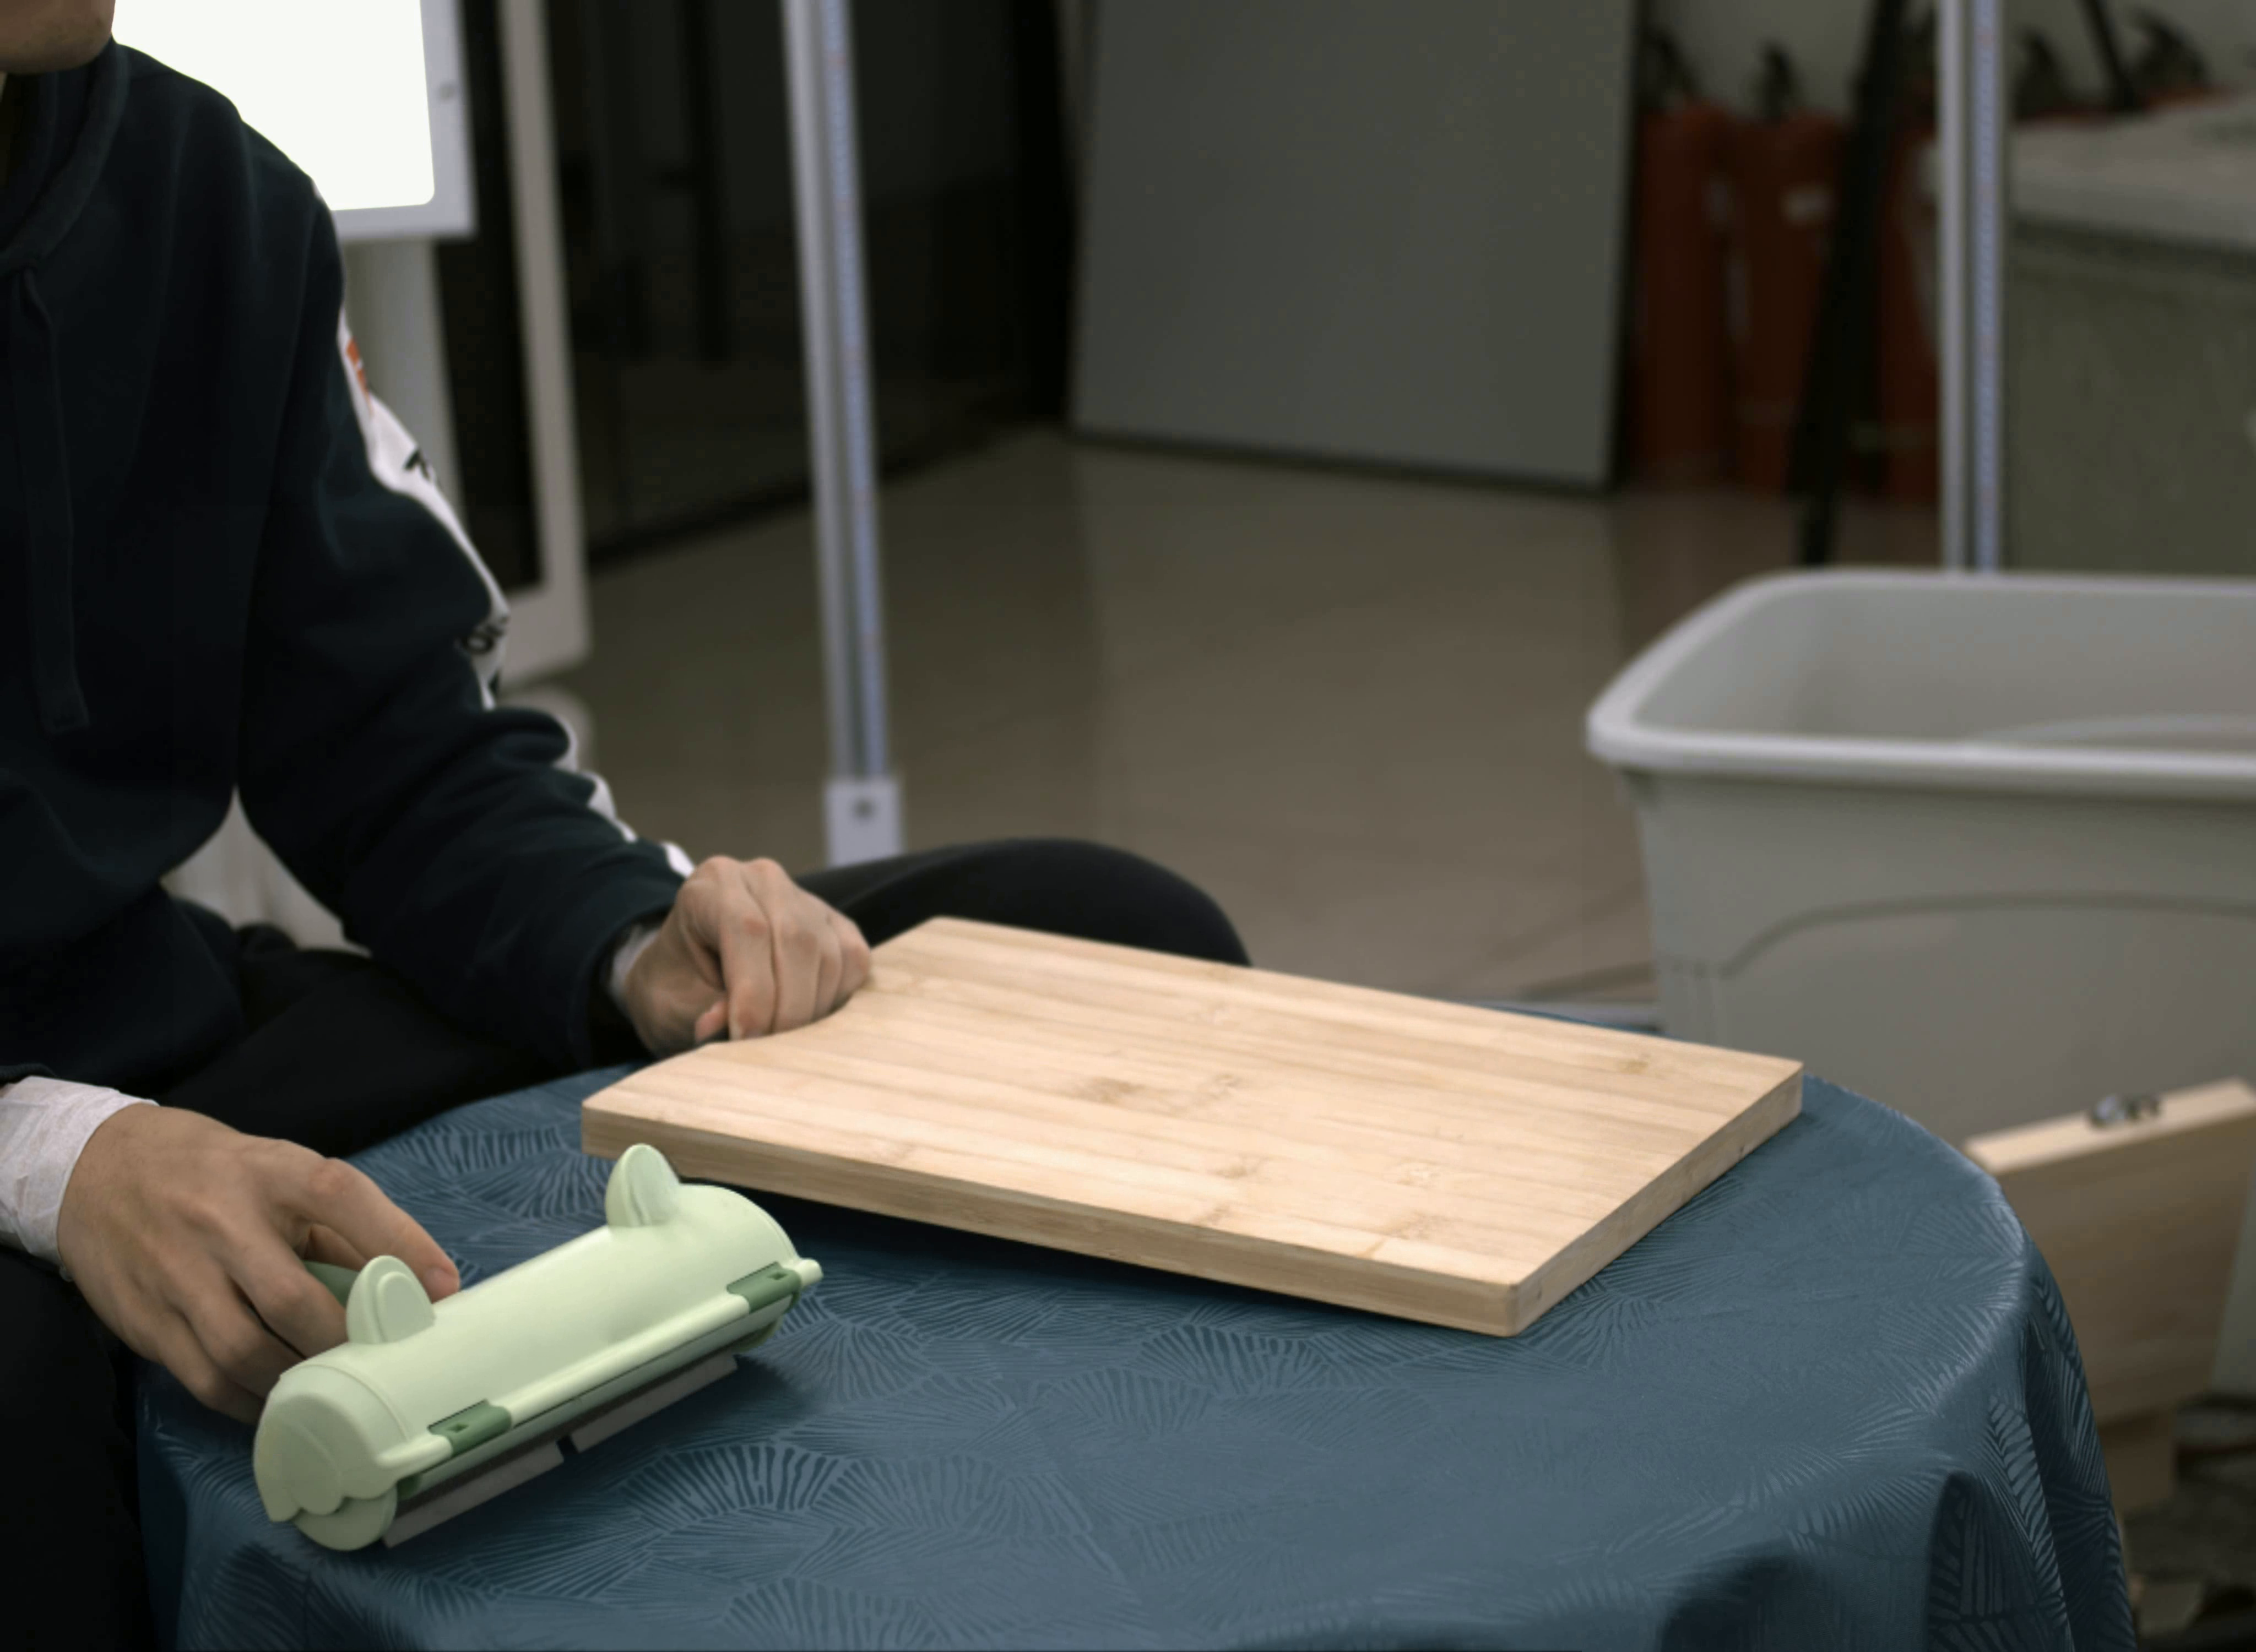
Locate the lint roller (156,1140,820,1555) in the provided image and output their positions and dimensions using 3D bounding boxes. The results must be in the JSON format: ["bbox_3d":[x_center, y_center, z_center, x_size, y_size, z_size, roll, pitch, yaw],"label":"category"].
[{"bbox_3d":[-0.216,0.135,1.591,0.184,0.083,0.195,16,22,32],"label":"lint roller"}]

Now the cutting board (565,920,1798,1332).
[{"bbox_3d":[0.020,0.094,1.790,0.350,0.024,0.247,8,17,28],"label":"cutting board"}]
